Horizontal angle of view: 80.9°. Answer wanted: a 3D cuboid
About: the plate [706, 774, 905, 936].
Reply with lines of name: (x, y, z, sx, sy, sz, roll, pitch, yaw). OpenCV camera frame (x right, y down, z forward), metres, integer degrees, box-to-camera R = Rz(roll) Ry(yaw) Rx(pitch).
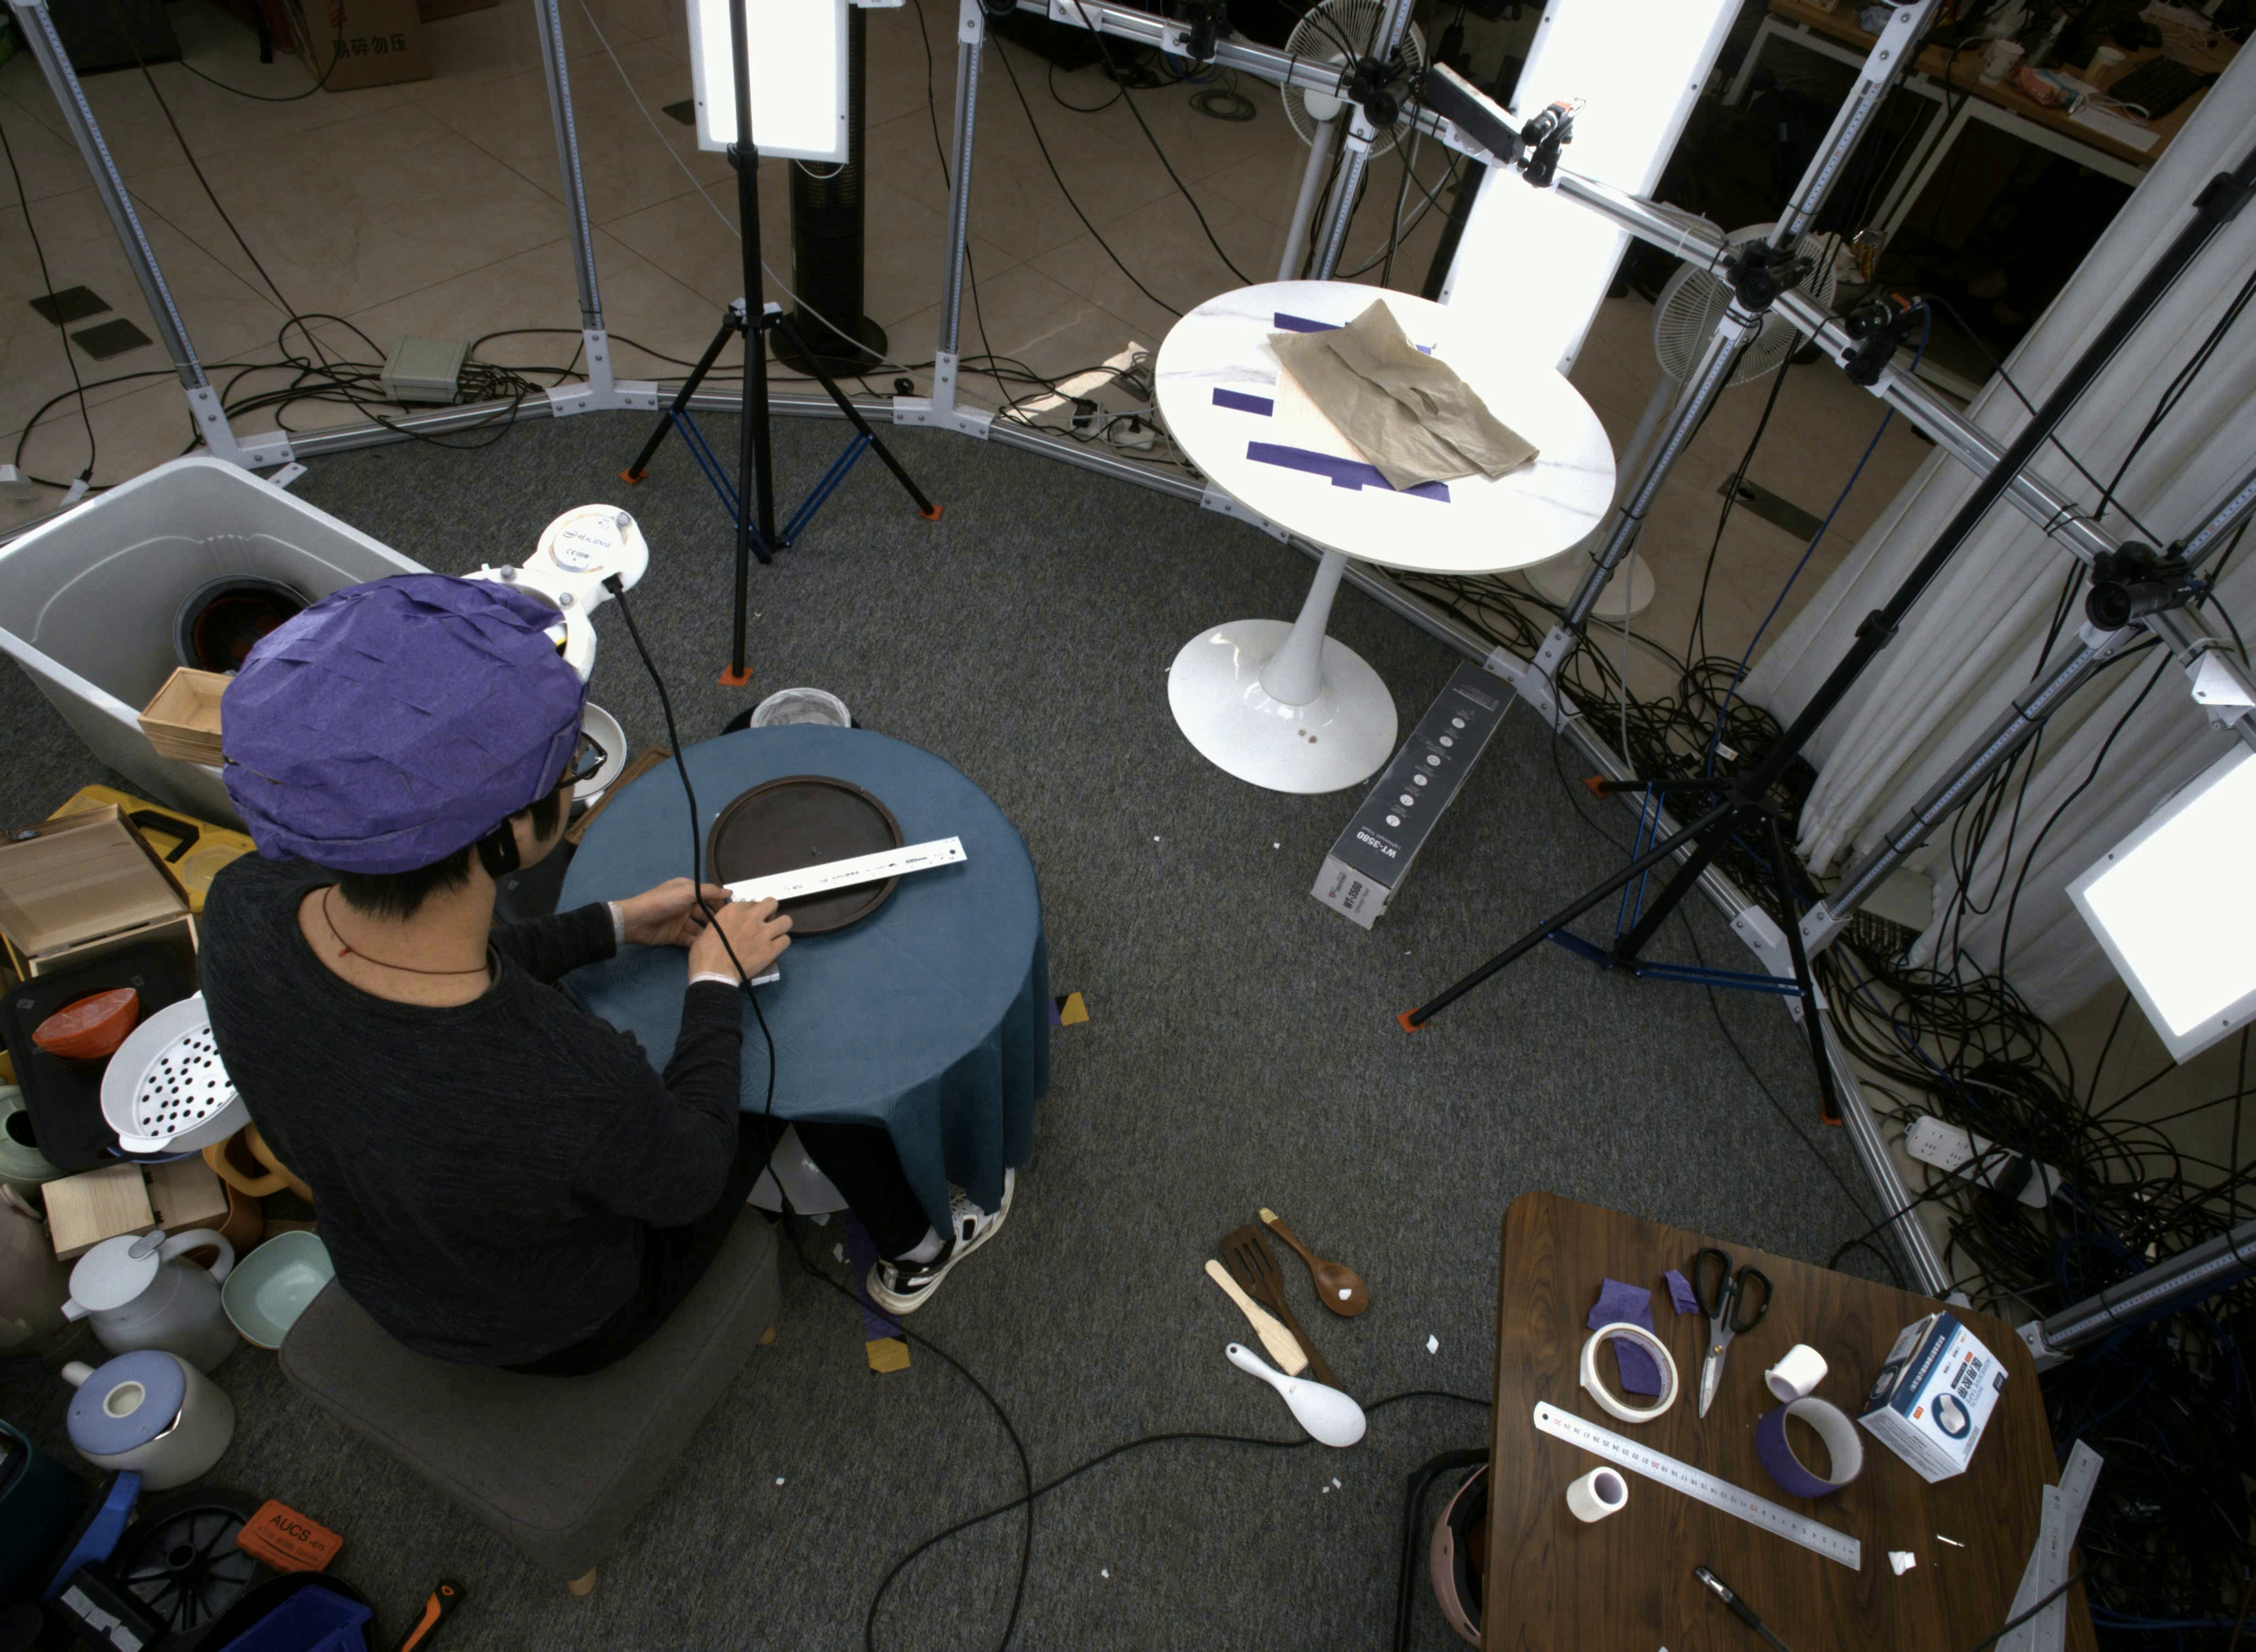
plate: (-0.416, 0.035, 1.680, 0.254, 0.029, 0.250, 8, 51, -9)

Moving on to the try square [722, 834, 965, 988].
try square: (-0.340, 0.099, 1.634, 0.315, 0.016, 0.148, -13, 58, -24)
